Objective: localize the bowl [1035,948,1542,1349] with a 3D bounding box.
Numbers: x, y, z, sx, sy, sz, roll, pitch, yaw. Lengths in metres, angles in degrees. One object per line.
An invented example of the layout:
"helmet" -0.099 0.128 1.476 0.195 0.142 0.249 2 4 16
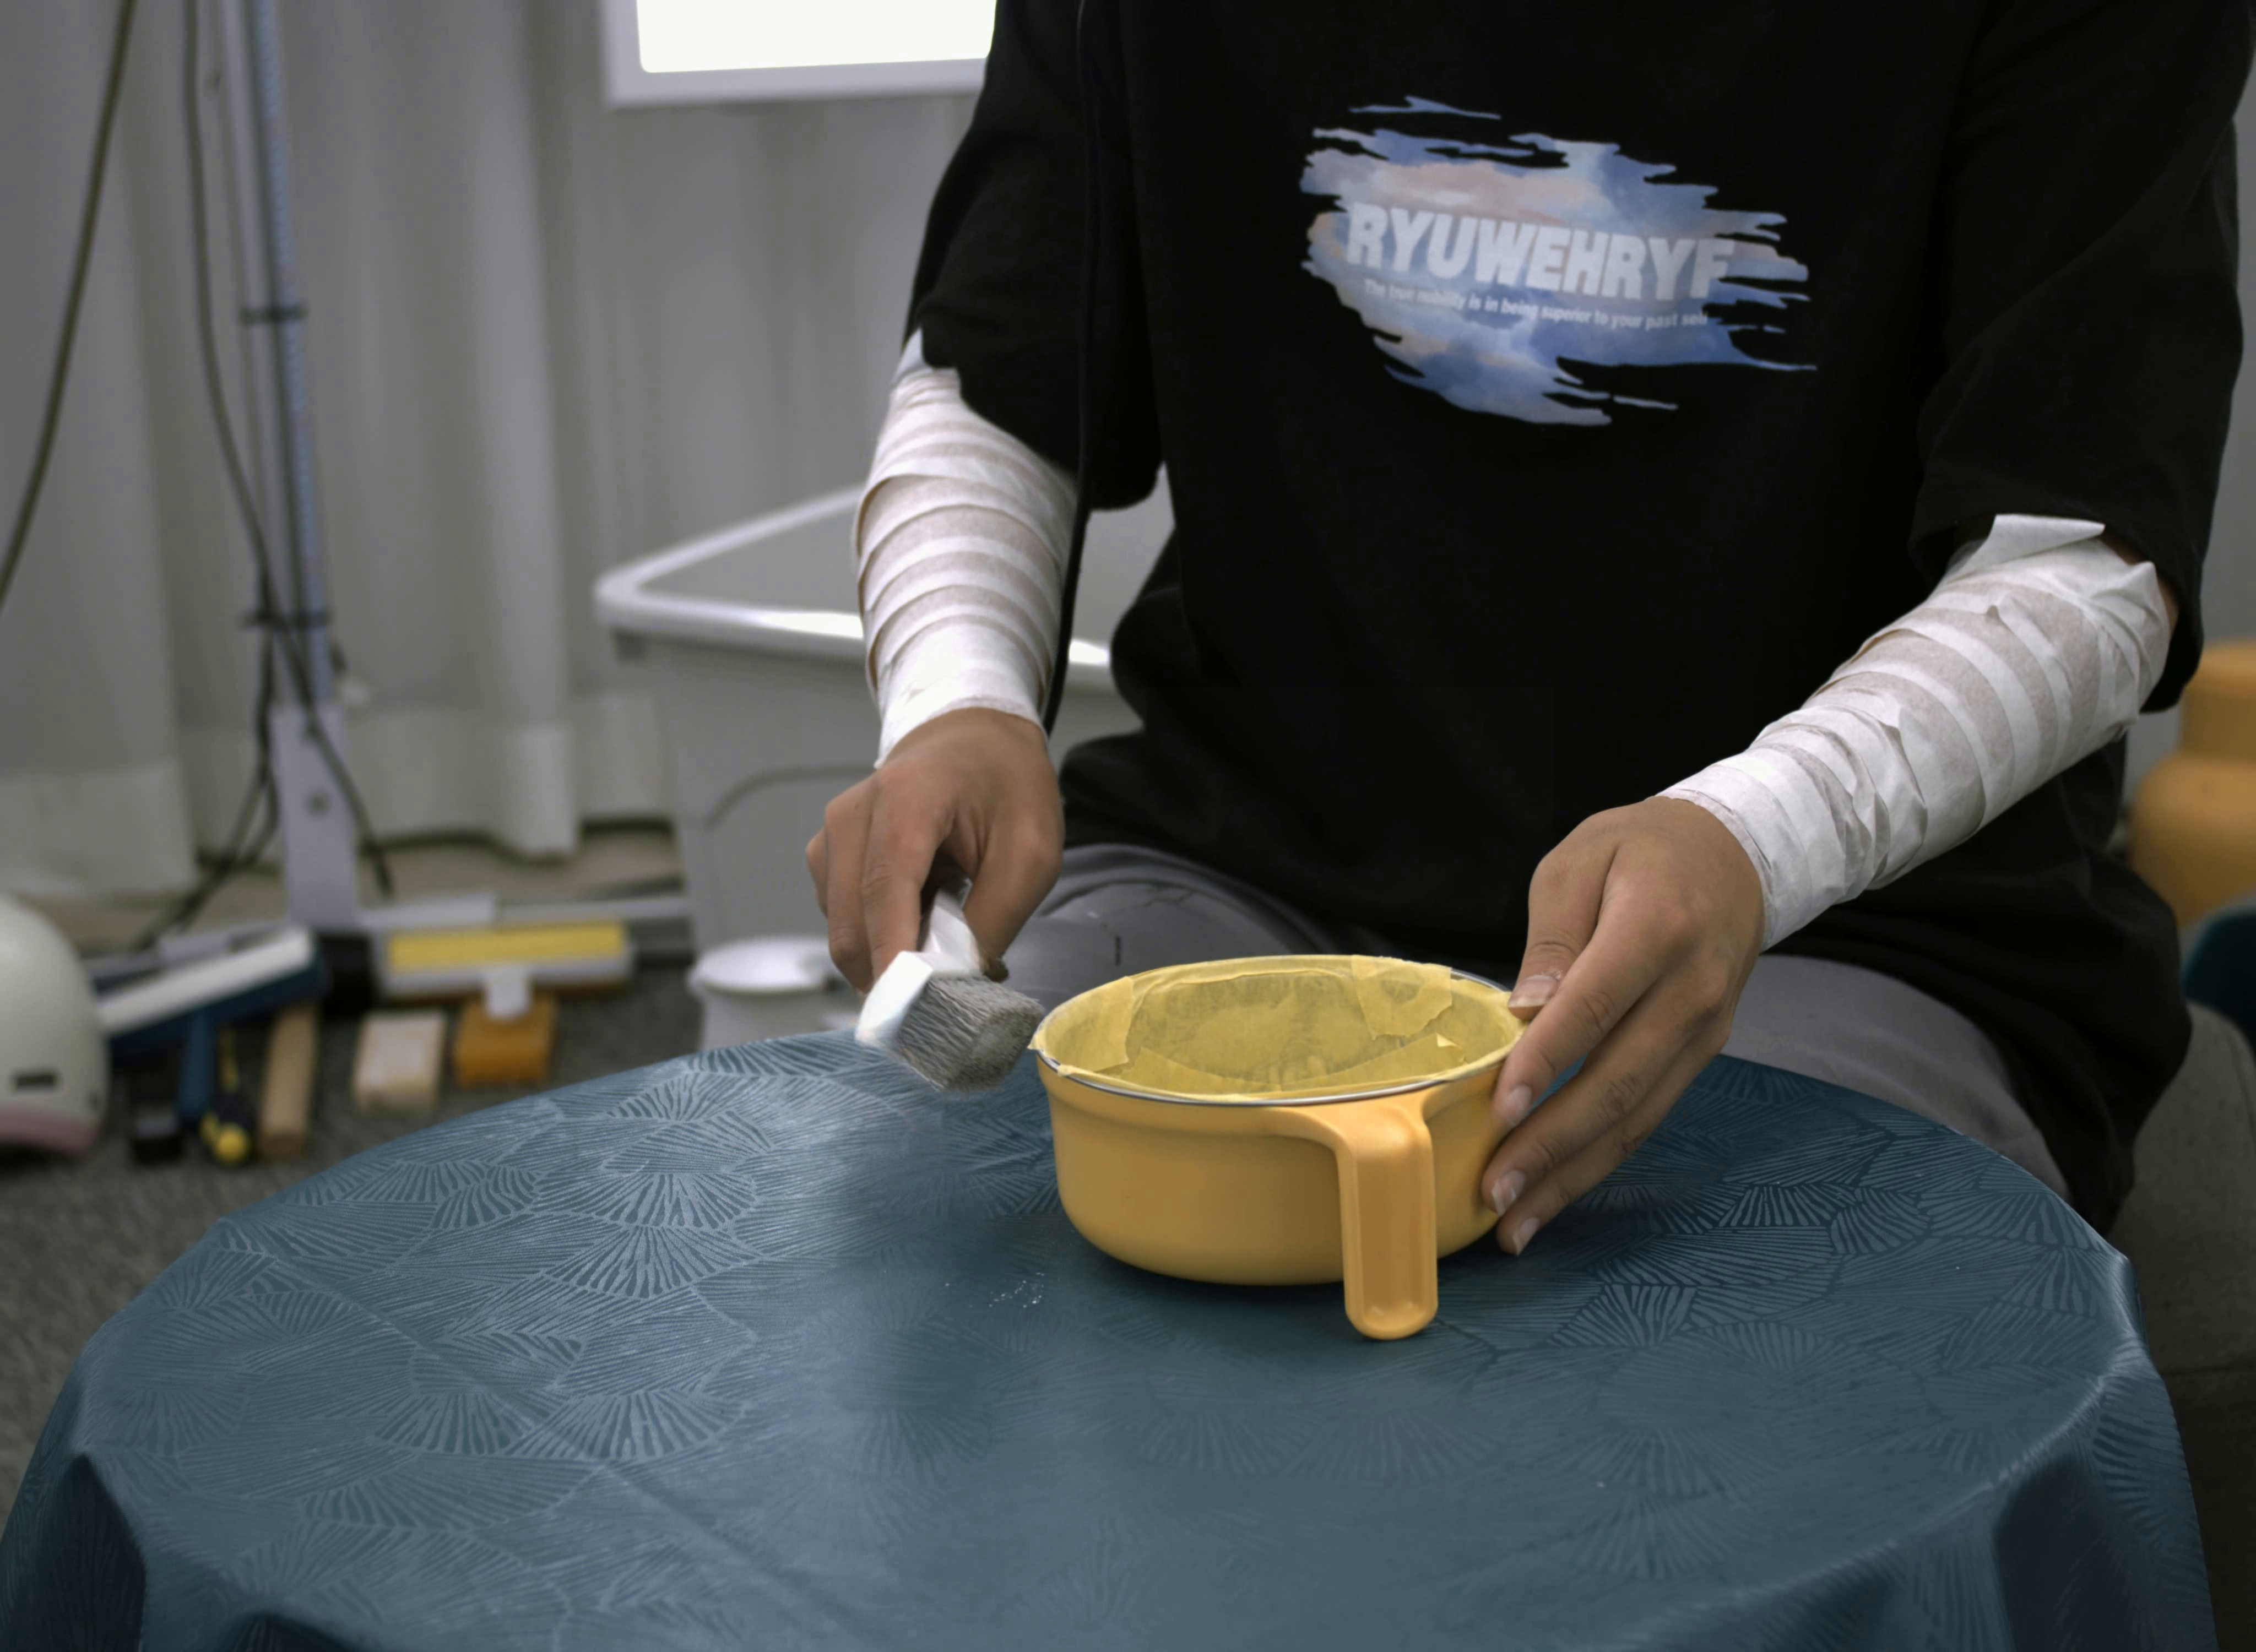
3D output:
"bowl" 0.051 0.094 1.647 0.152 0.074 0.181 -3 14 -18

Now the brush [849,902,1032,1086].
"brush" -0.055 0.053 1.776 0.050 0.034 0.244 28 4 0
